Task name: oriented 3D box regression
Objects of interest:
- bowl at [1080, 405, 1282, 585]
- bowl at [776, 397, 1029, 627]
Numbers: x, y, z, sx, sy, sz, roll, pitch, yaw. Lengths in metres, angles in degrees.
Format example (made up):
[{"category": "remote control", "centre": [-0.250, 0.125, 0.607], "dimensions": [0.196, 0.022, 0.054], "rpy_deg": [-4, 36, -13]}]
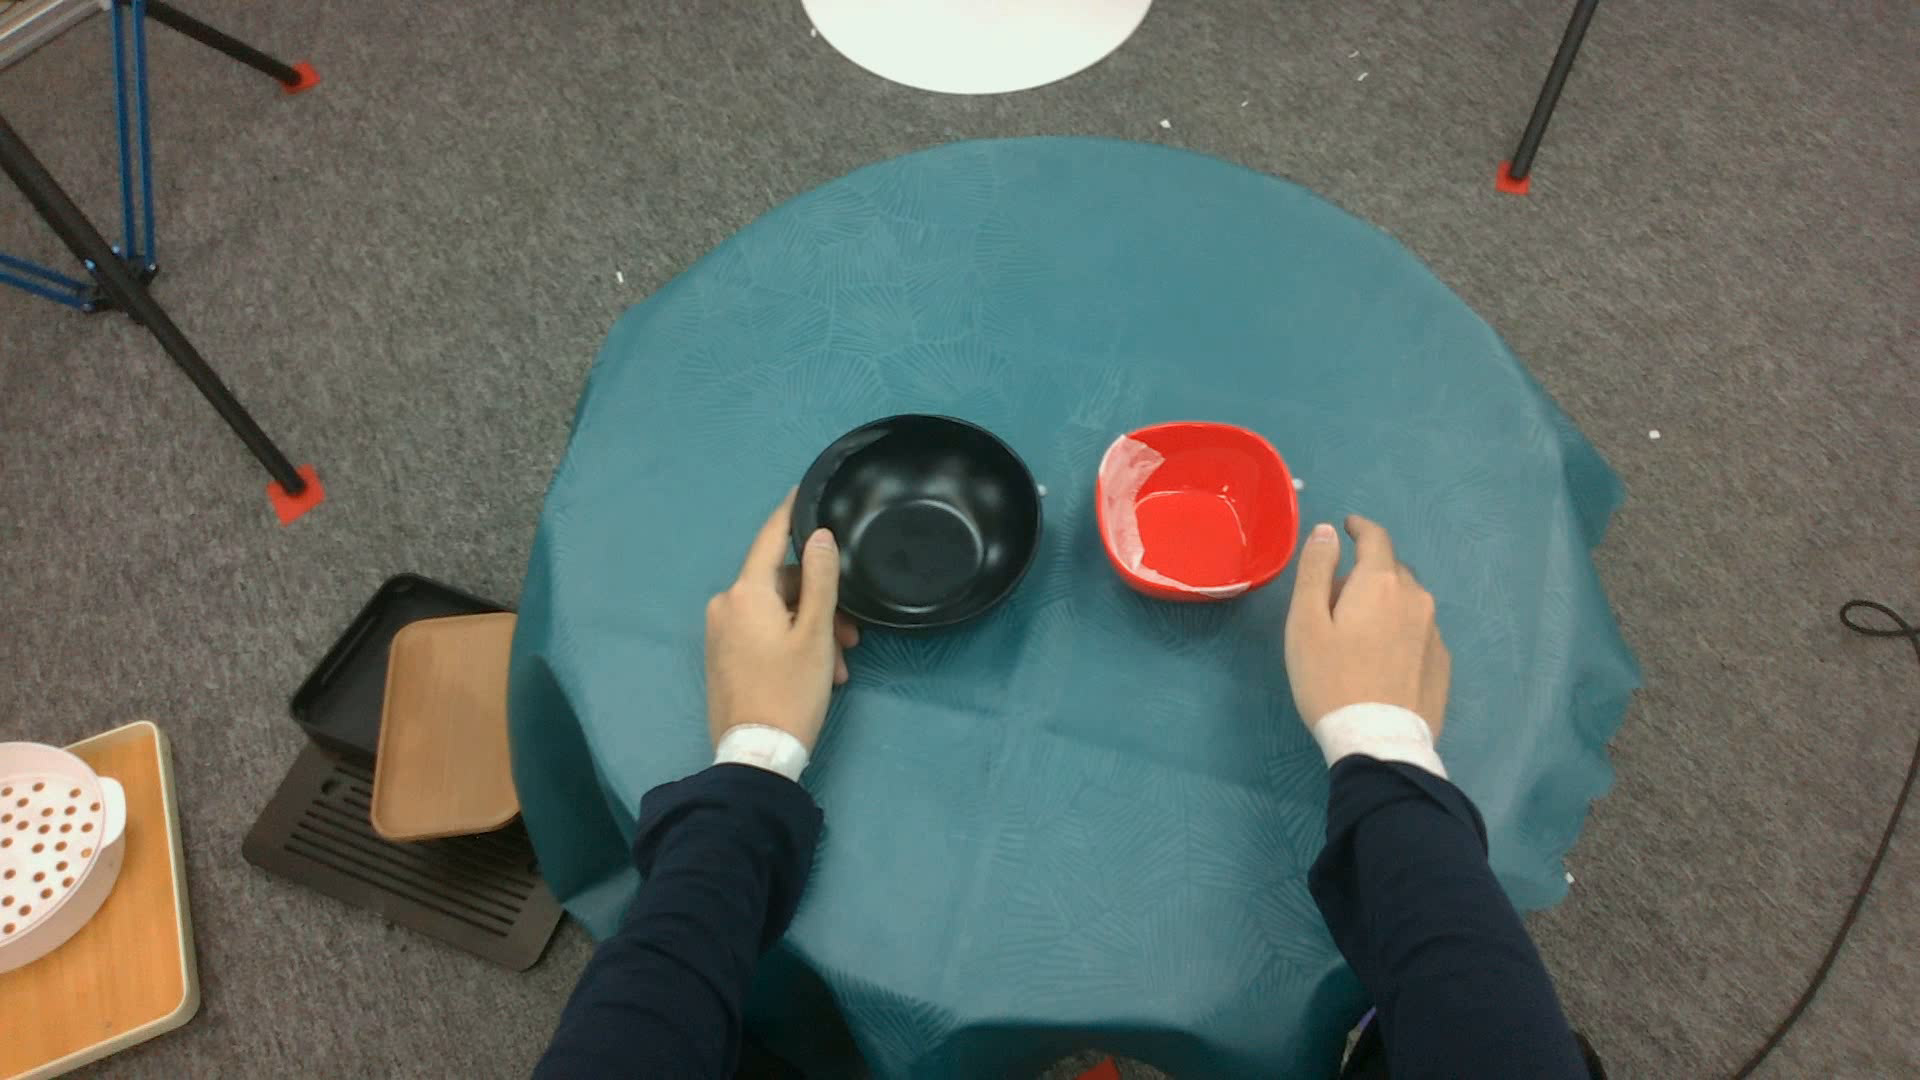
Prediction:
[{"category": "bowl", "centre": [0.121, -0.017, 0.773], "dimensions": [0.119, 0.051, 0.119], "rpy_deg": [0, 59, -1]}, {"category": "bowl", "centre": [-0.031, -0.009, 0.774], "dimensions": [0.140, 0.049, 0.140], "rpy_deg": [0, 64, 0]}]
